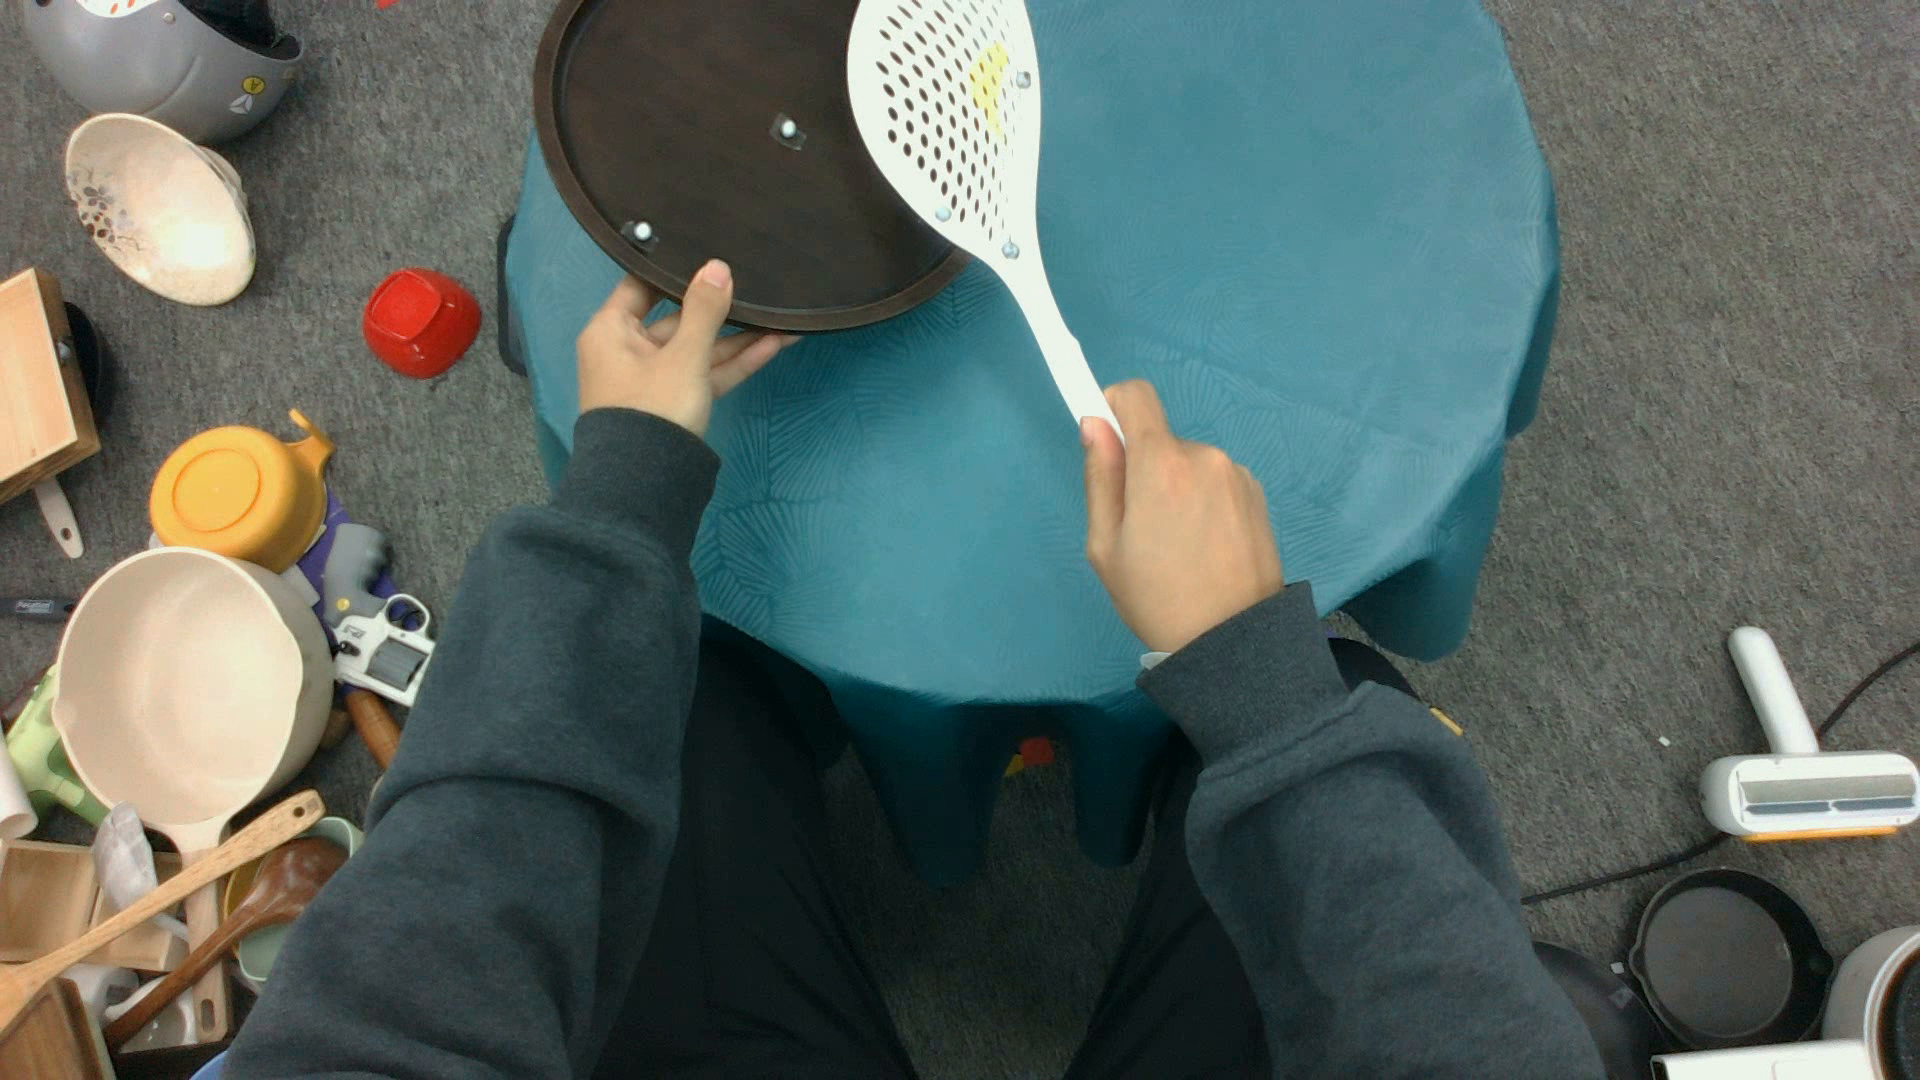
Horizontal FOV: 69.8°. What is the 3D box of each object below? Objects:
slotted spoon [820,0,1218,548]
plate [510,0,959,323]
[{"bbox_3d":[0.028,-0.147,0.648,0.050,0.136,0.348,-7,69,-39],"label":"slotted spoon"},{"bbox_3d":[-0.110,-0.229,0.741,0.255,0.029,0.255,6,69,-16],"label":"plate"}]
